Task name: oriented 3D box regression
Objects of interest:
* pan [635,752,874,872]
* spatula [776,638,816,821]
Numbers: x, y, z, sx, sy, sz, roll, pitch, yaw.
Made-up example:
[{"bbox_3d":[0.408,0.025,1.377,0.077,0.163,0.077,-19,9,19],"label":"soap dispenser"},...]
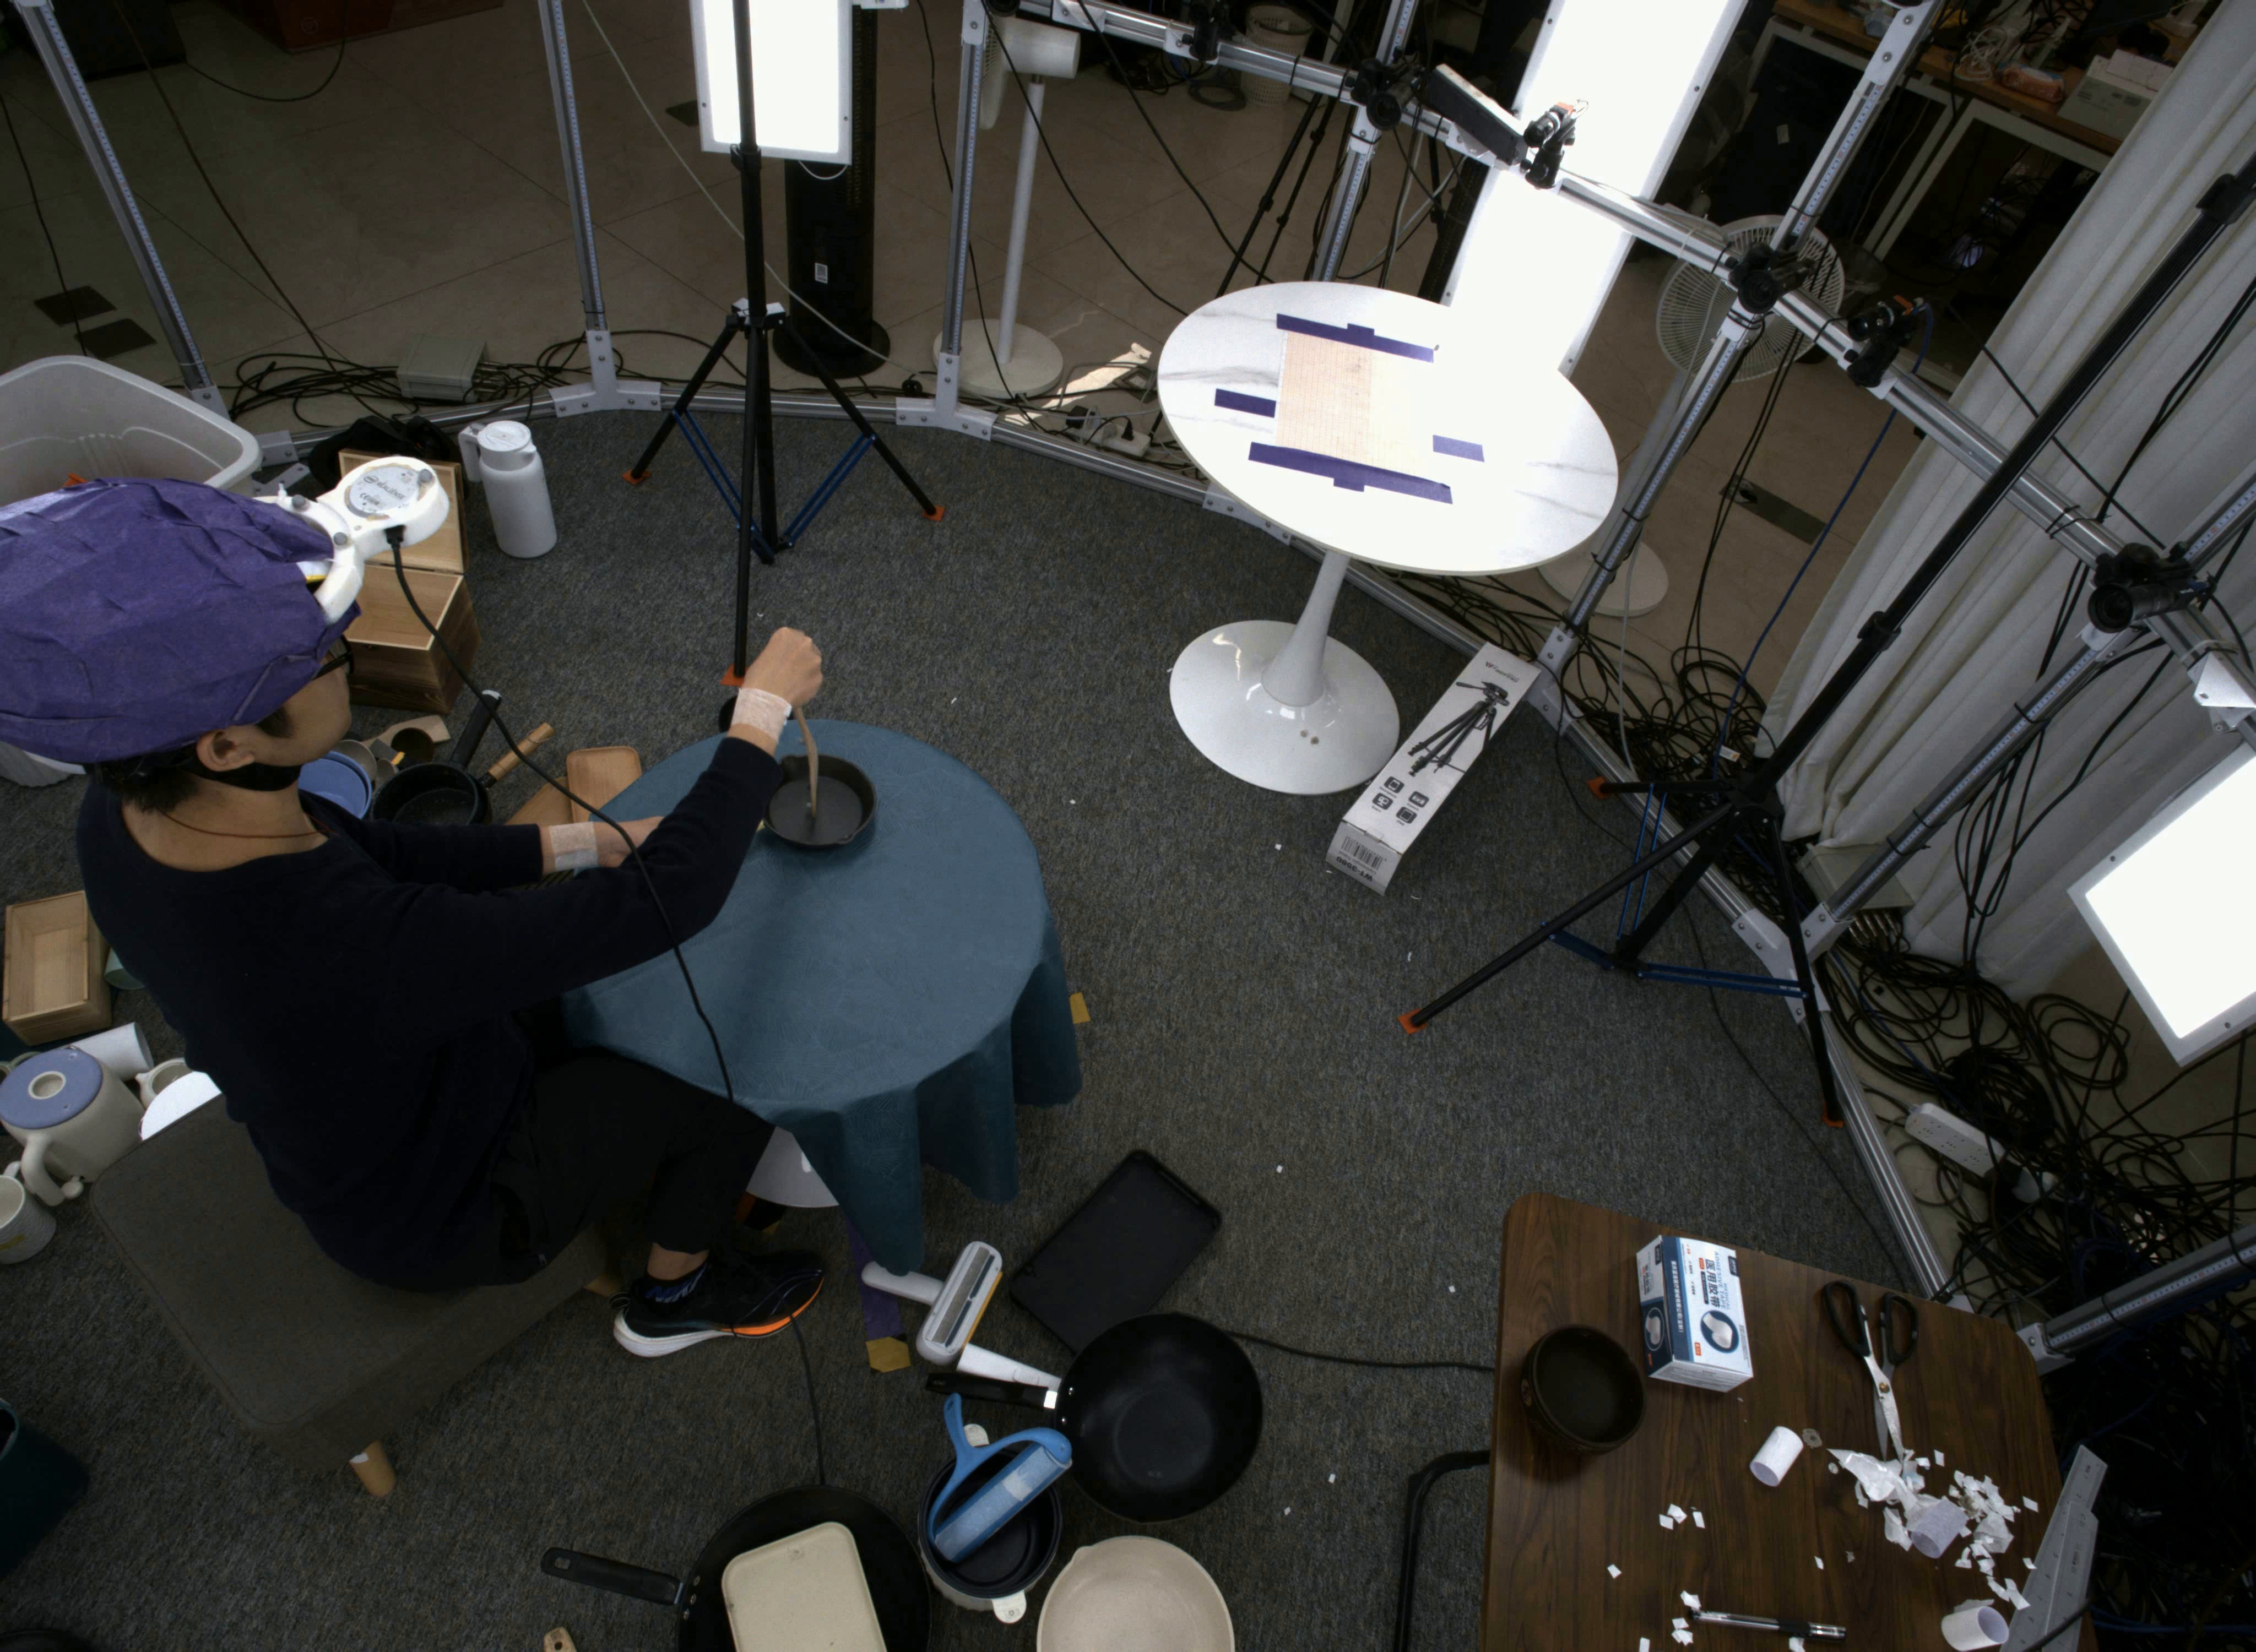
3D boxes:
[{"bbox_3d":[-0.480,-0.004,1.664,0.326,0.050,0.165,-23,62,-32],"label":"pan"},{"bbox_3d":[-0.408,-0.119,1.599,0.016,0.335,0.078,-1,59,-5],"label":"spatula"}]
